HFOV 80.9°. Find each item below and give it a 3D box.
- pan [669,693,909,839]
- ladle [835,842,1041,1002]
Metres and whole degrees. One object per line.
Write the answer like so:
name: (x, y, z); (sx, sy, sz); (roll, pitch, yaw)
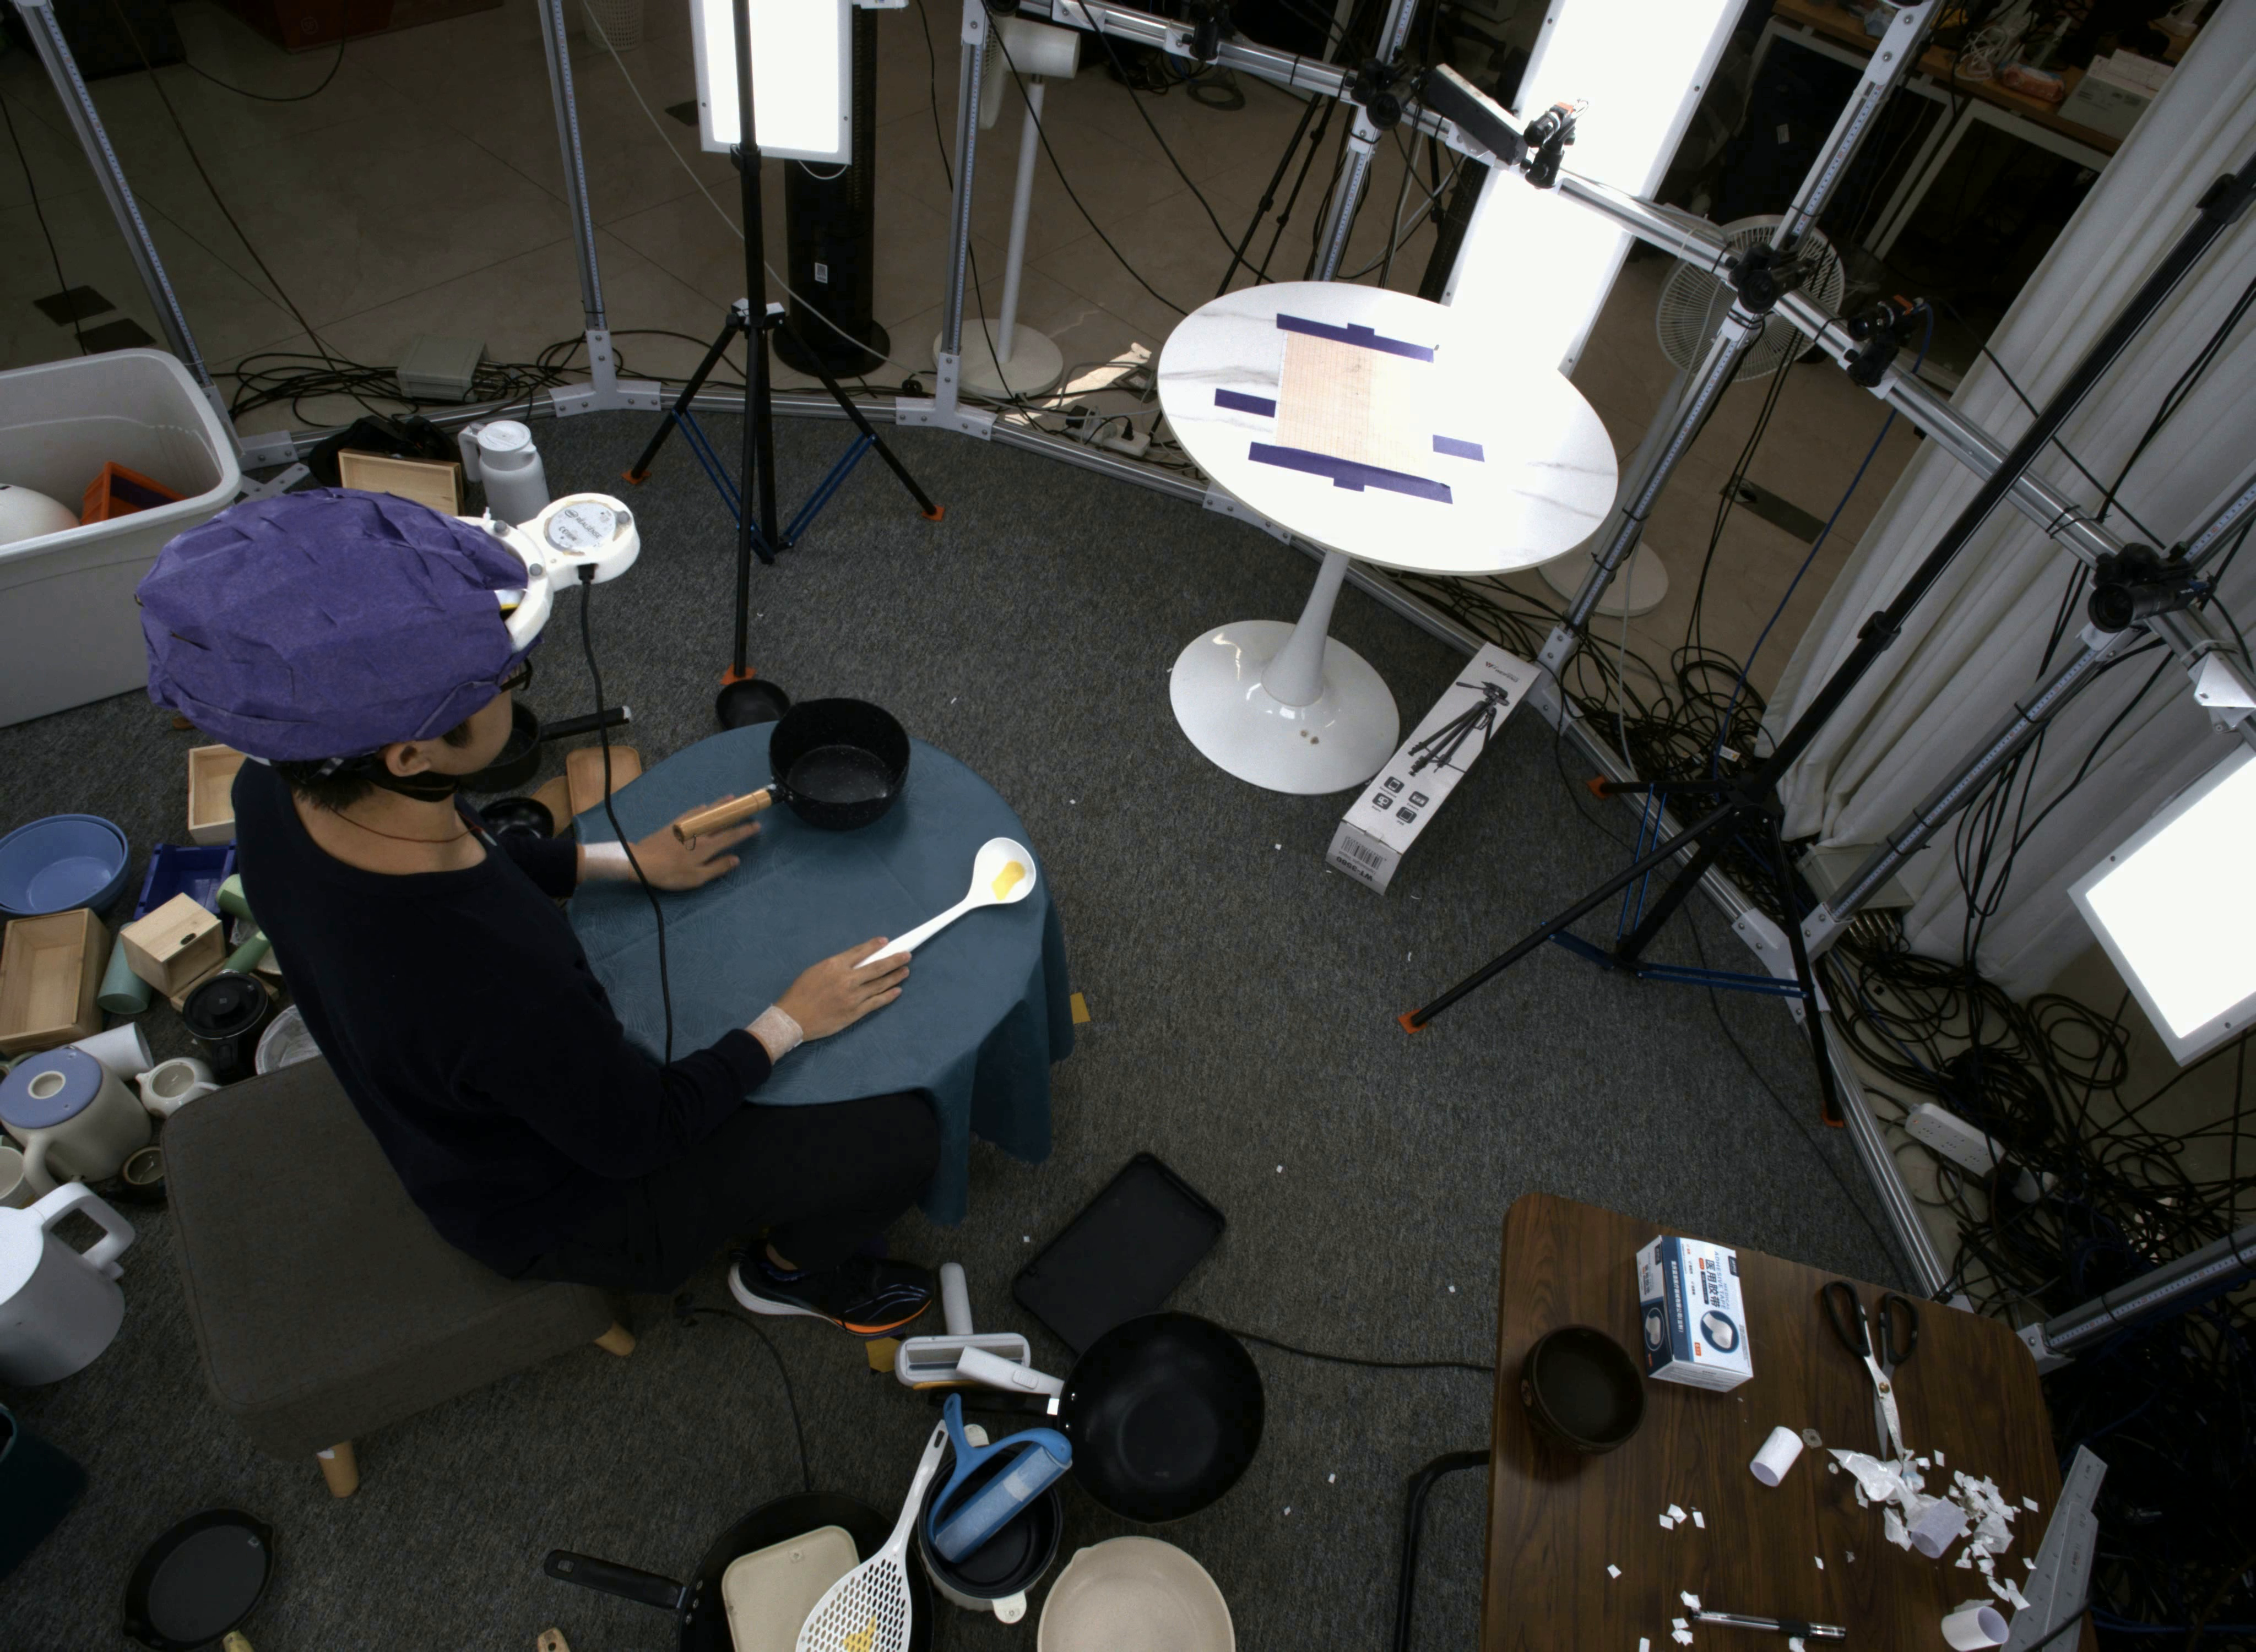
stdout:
pan: (-0.438, -0.047, 1.675); (0.203, 0.110, 0.343); (42, 53, 16)
ladle: (-0.238, 0.121, 1.633); (0.294, 0.070, 0.090); (-33, 82, -32)
